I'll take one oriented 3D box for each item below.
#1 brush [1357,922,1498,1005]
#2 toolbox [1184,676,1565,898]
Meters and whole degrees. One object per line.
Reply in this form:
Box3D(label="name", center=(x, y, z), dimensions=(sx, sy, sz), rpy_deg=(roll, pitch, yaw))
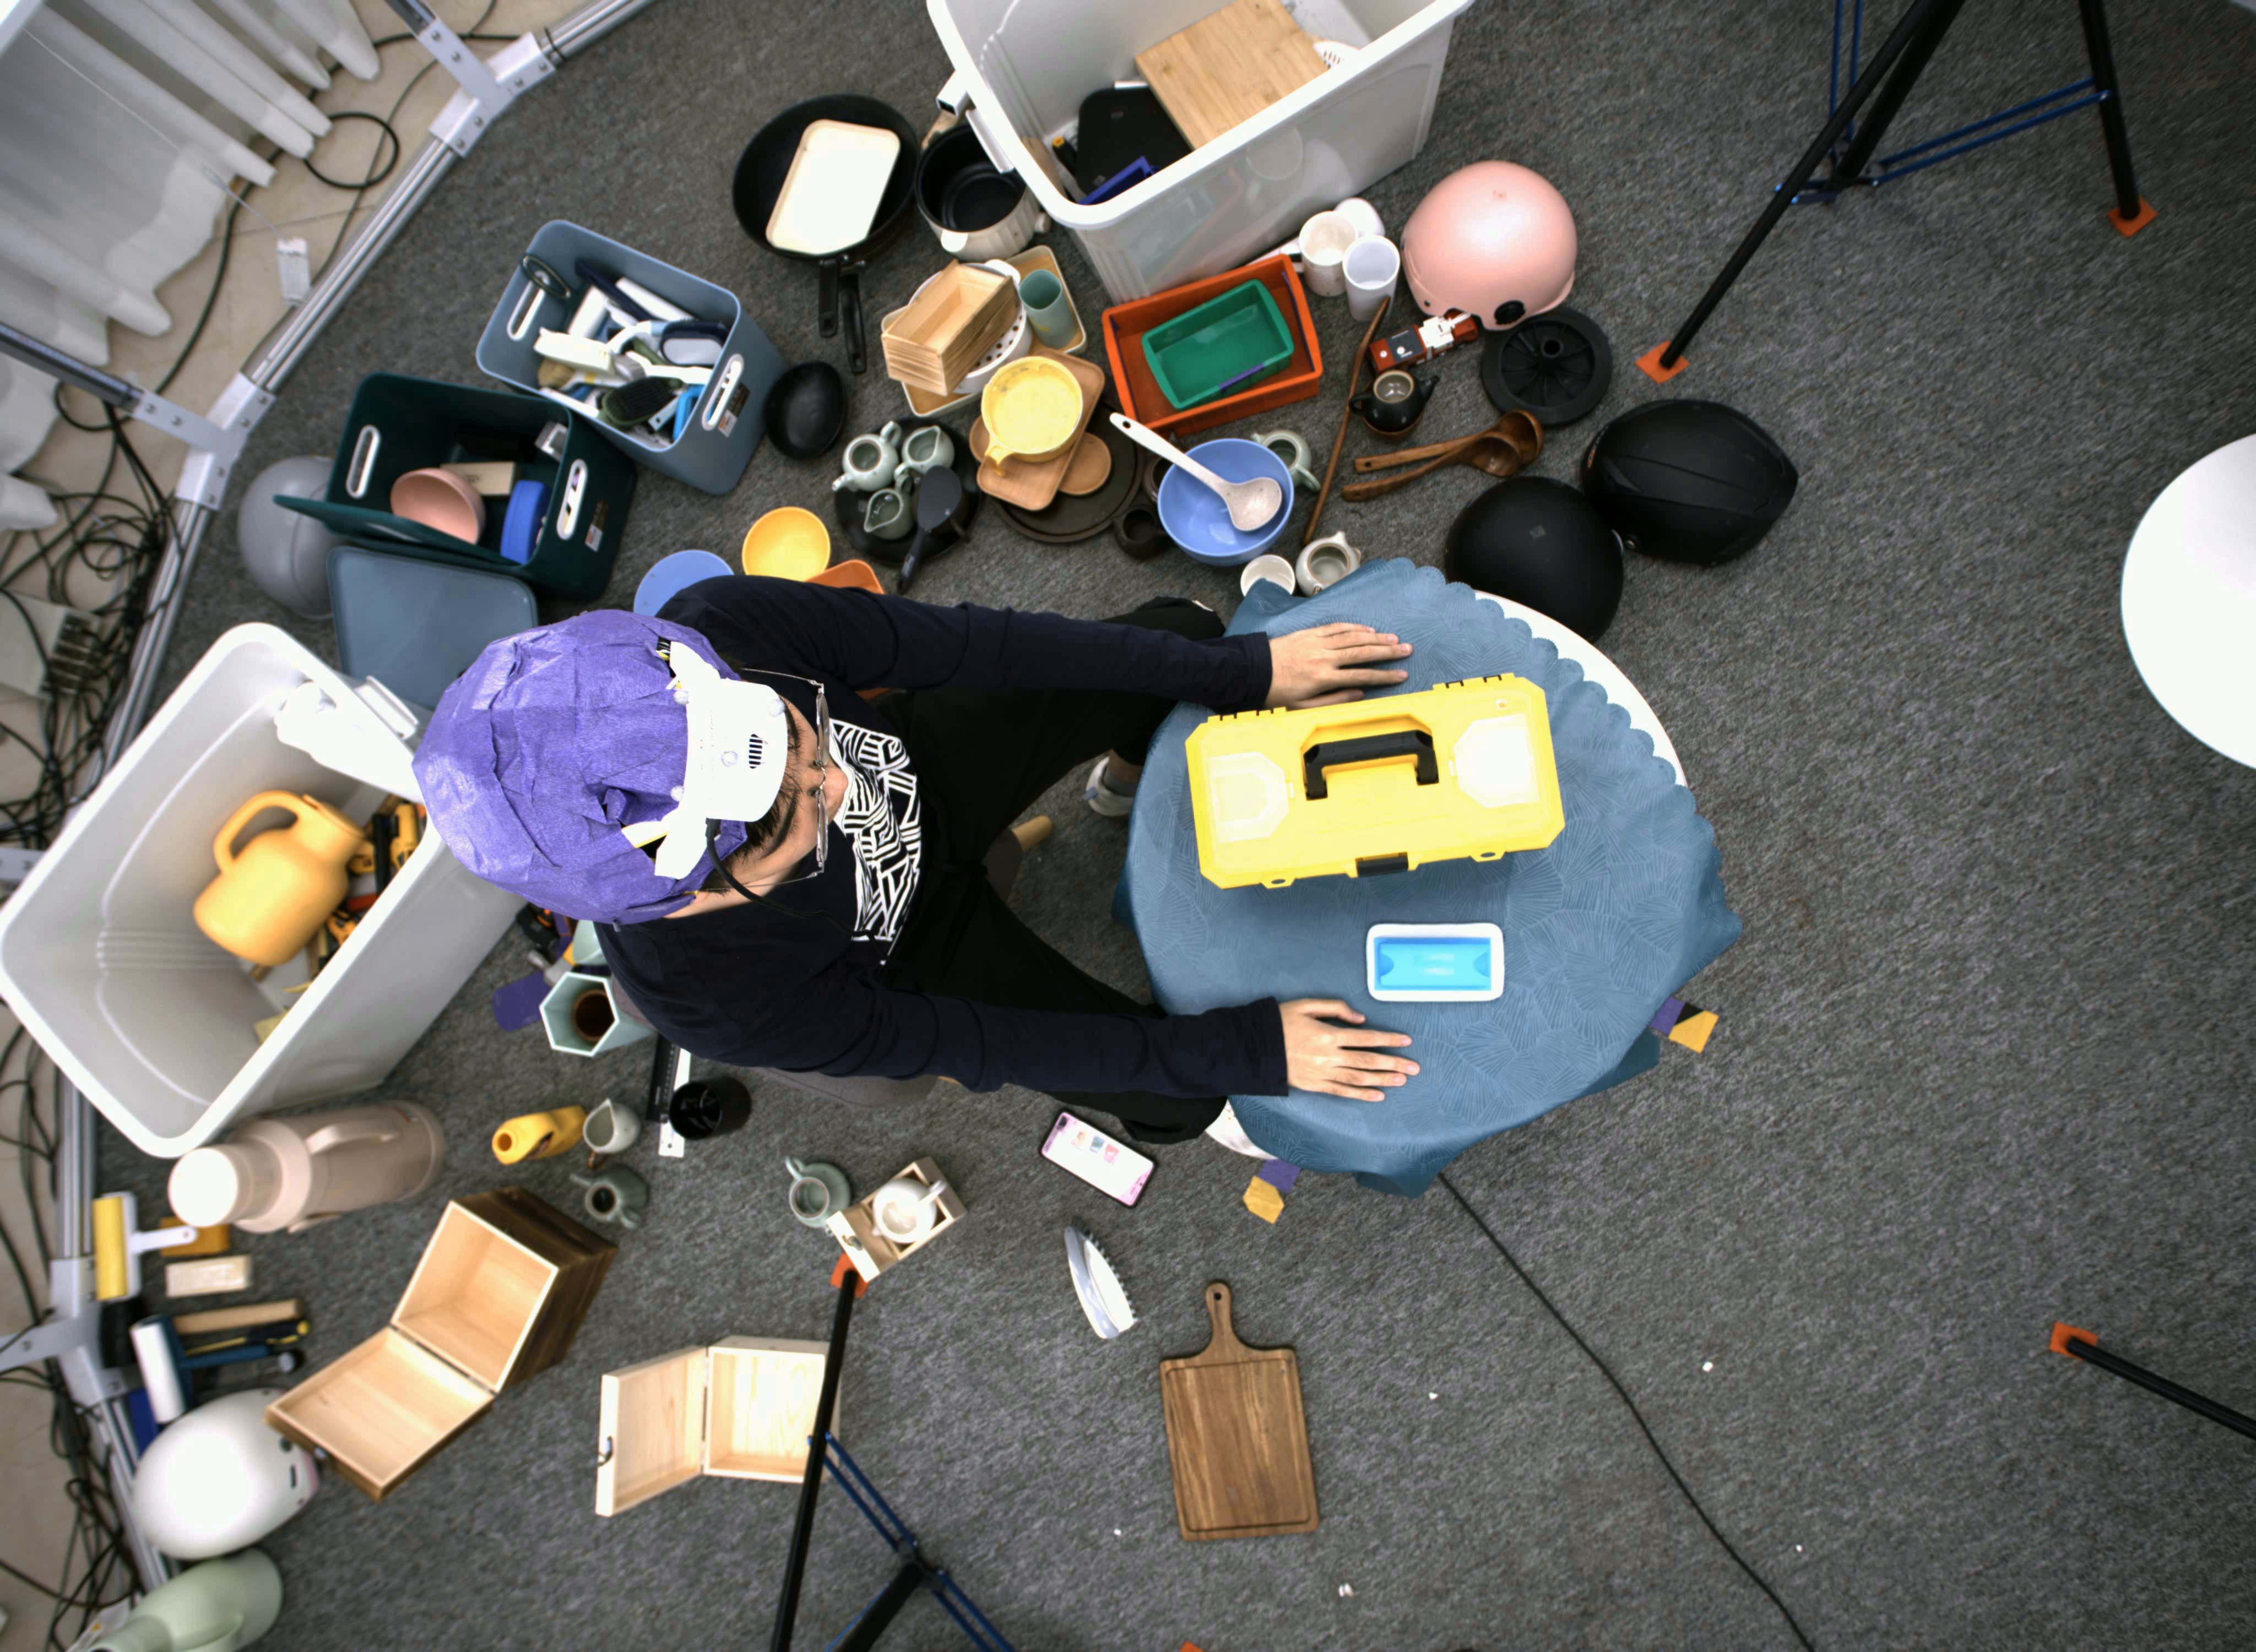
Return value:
Box3D(label="brush", center=(0.308, 0.139, 1.417), dimensions=(0.144, 0.056, 0.083), rpy_deg=(2, 83, 9))
Box3D(label="toolbox", center=(0.243, -0.035, 1.381), dimensions=(0.353, 0.173, 0.180), rpy_deg=(-8, 84, 10))
